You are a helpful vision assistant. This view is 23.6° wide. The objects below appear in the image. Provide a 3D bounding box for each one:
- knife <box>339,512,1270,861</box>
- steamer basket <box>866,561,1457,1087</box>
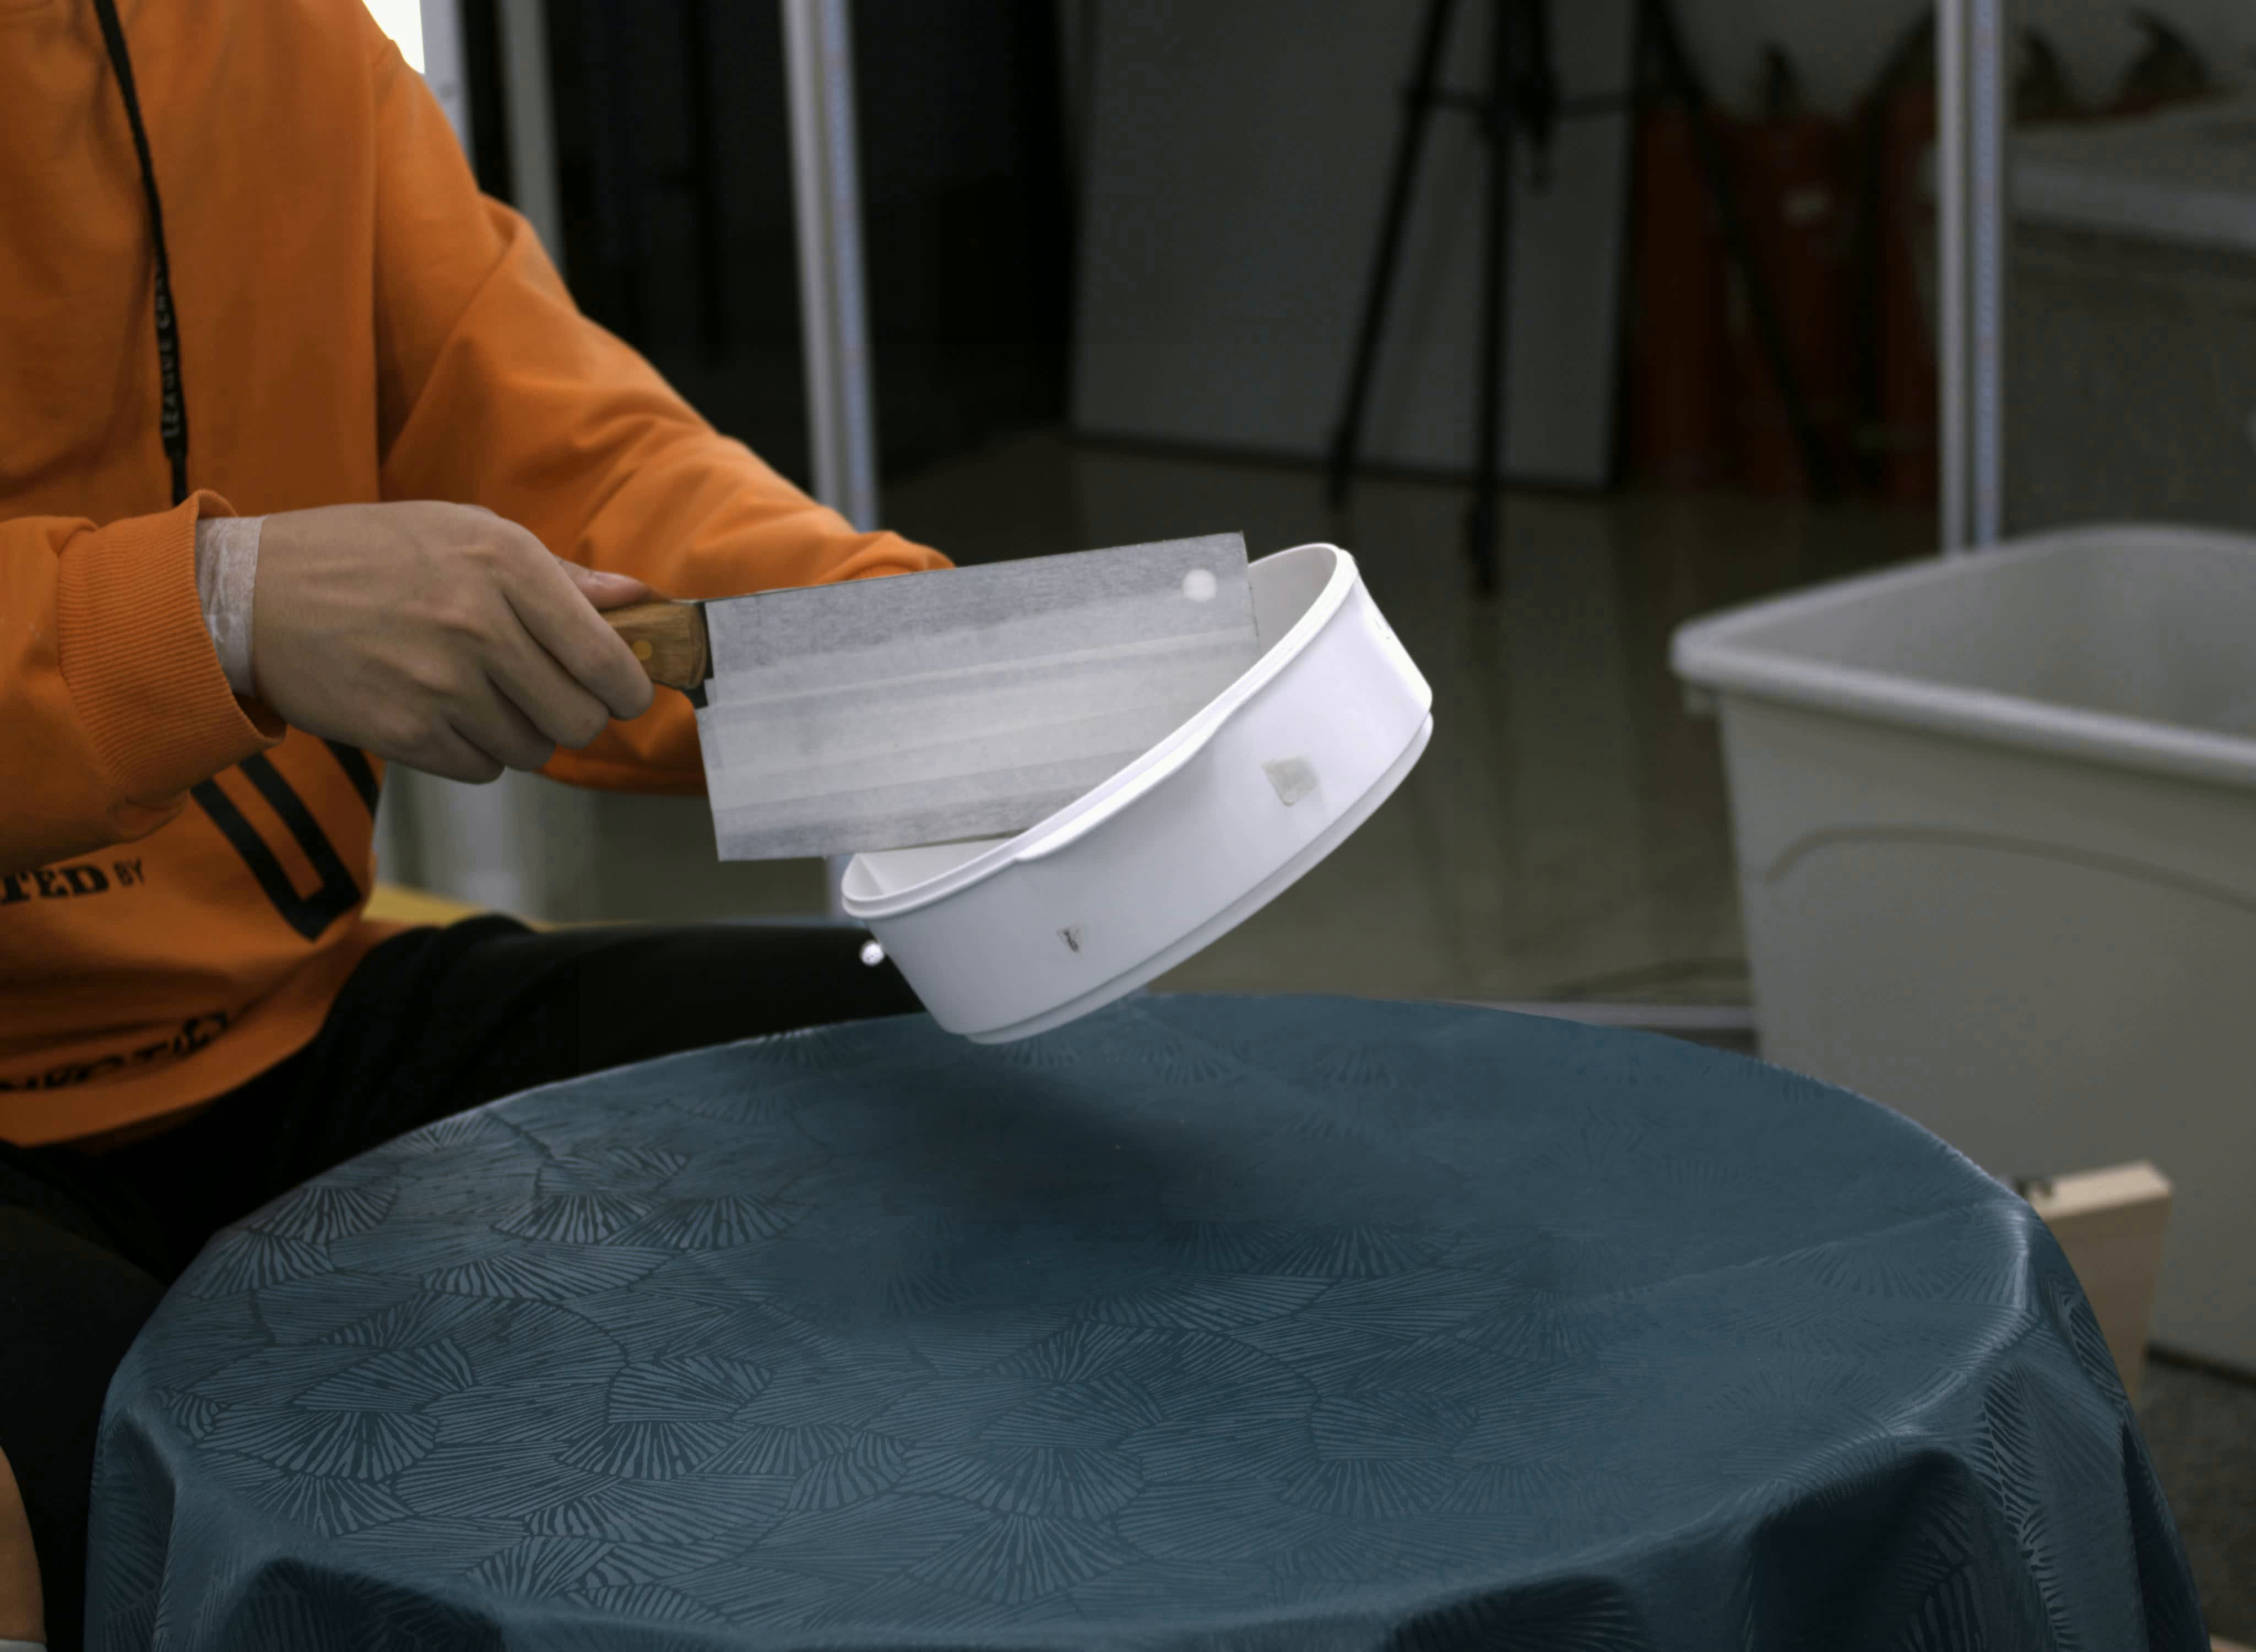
[{"bbox_3d":[-0.104,-0.037,1.755,0.304,0.094,0.021,-8,14,11],"label":"knife"},{"bbox_3d":[0.014,0.001,1.729,0.201,0.069,0.231,-35,16,4],"label":"steamer basket"}]
